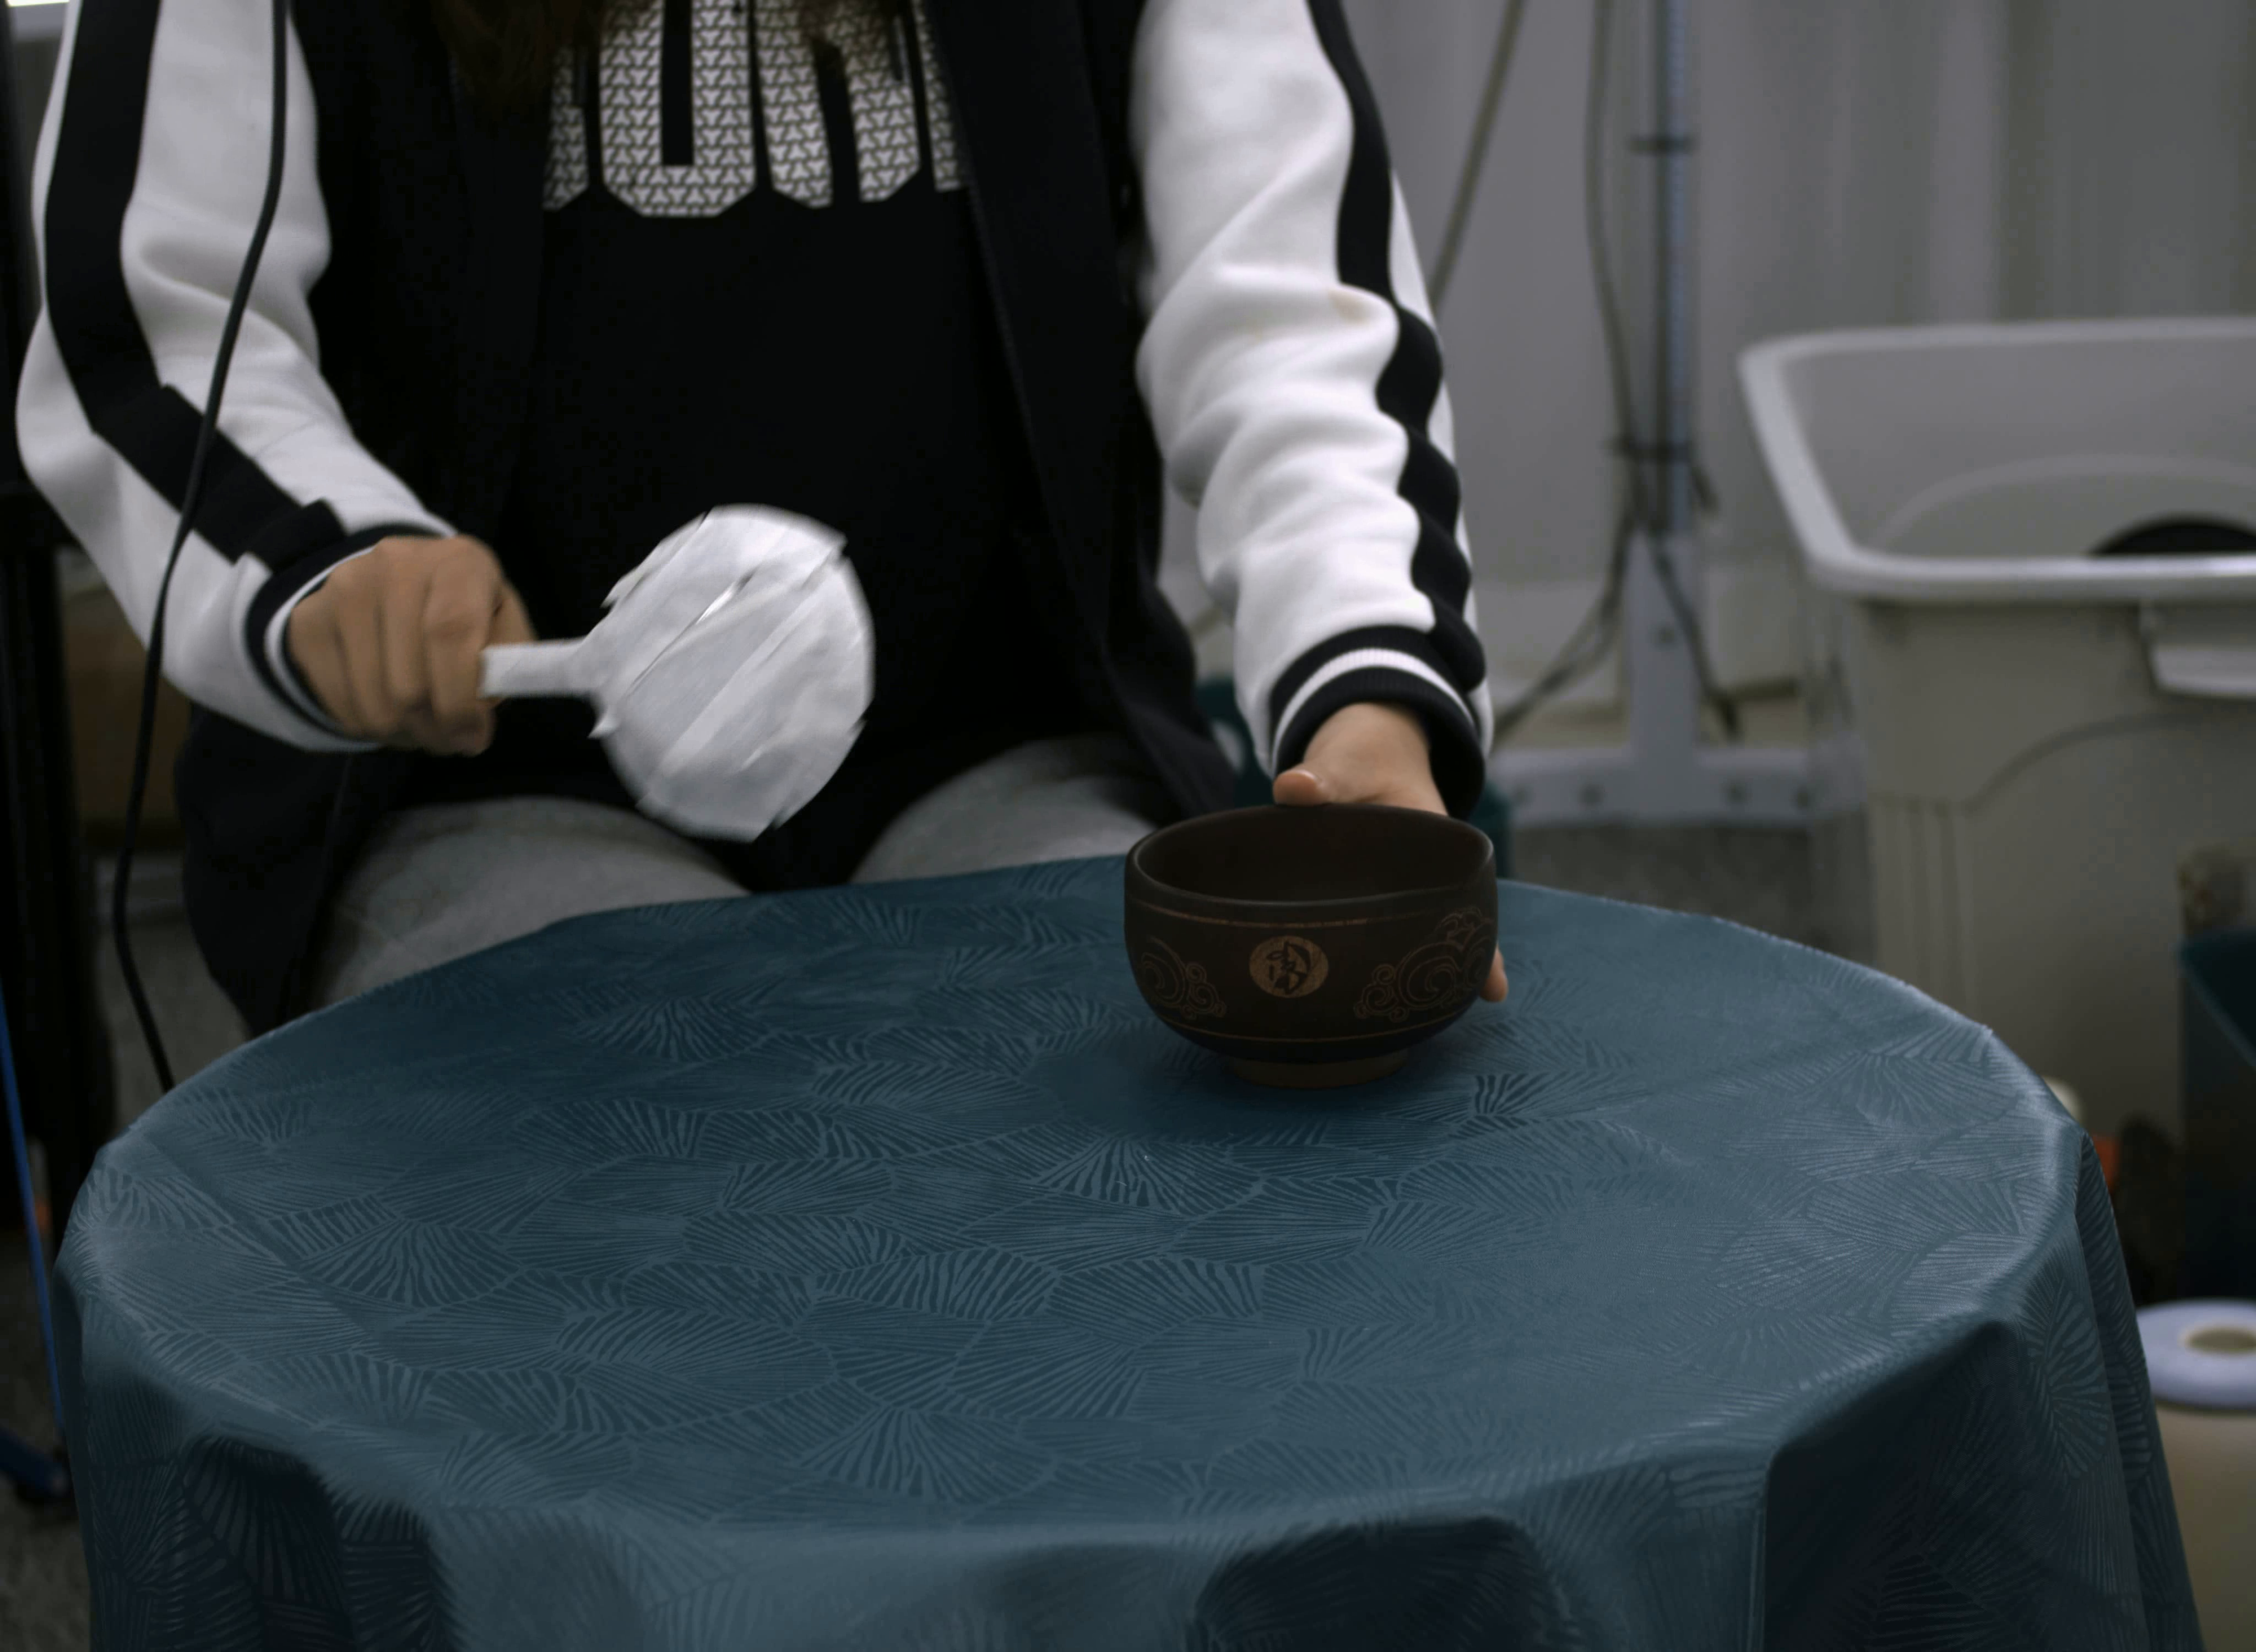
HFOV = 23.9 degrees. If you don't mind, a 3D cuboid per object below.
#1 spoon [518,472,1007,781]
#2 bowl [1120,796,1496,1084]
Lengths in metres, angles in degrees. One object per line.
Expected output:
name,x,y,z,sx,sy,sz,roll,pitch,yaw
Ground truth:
spoon,-0.118,-0.058,1.651,0.058,0.100,0.282,-26,11,-21
bowl,0.057,0.039,1.657,0.117,0.070,0.118,-2,15,-1
